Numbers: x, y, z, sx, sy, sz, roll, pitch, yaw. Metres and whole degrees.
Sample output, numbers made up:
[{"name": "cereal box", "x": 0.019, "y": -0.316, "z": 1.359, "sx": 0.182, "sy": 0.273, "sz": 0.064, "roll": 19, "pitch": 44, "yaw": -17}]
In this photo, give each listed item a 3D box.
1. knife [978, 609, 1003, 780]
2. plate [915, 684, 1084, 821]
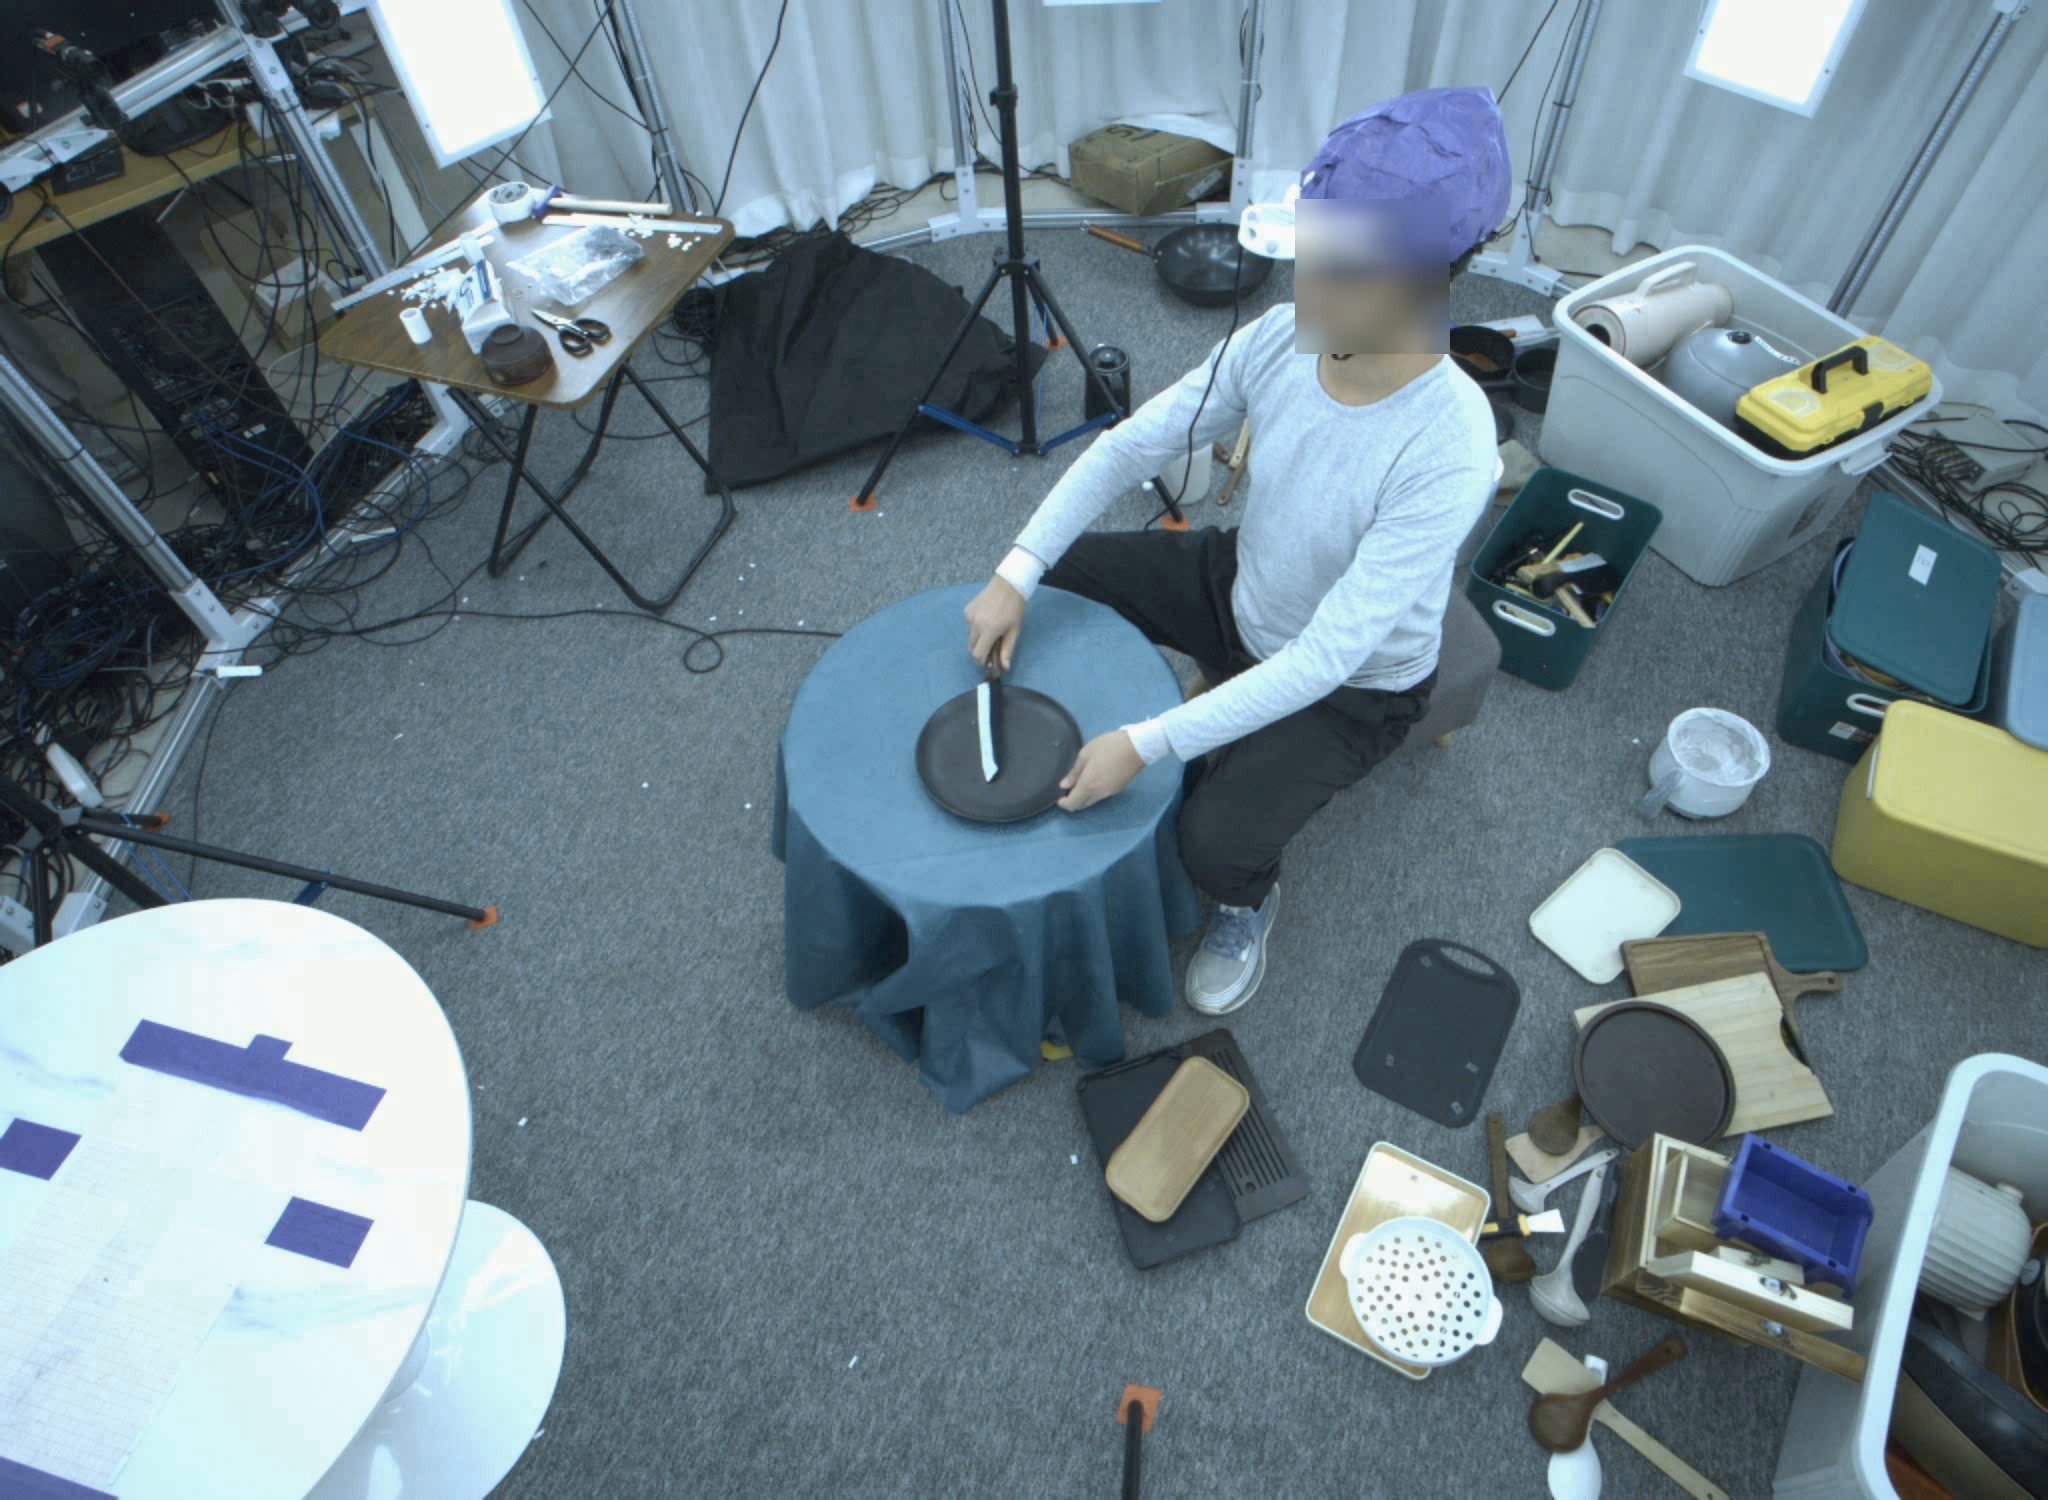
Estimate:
[{"name": "knife", "x": -0.050, "y": -0.085, "z": 1.814, "sx": 0.049, "sy": 0.020, "sz": 0.286, "roll": -21, "pitch": 56, "yaw": 34}, {"name": "plate", "x": -0.036, "y": 0.005, "z": 1.778, "sx": 0.244, "sy": 0.023, "sz": 0.242, "roll": 0, "pitch": 54, "yaw": 1}]
